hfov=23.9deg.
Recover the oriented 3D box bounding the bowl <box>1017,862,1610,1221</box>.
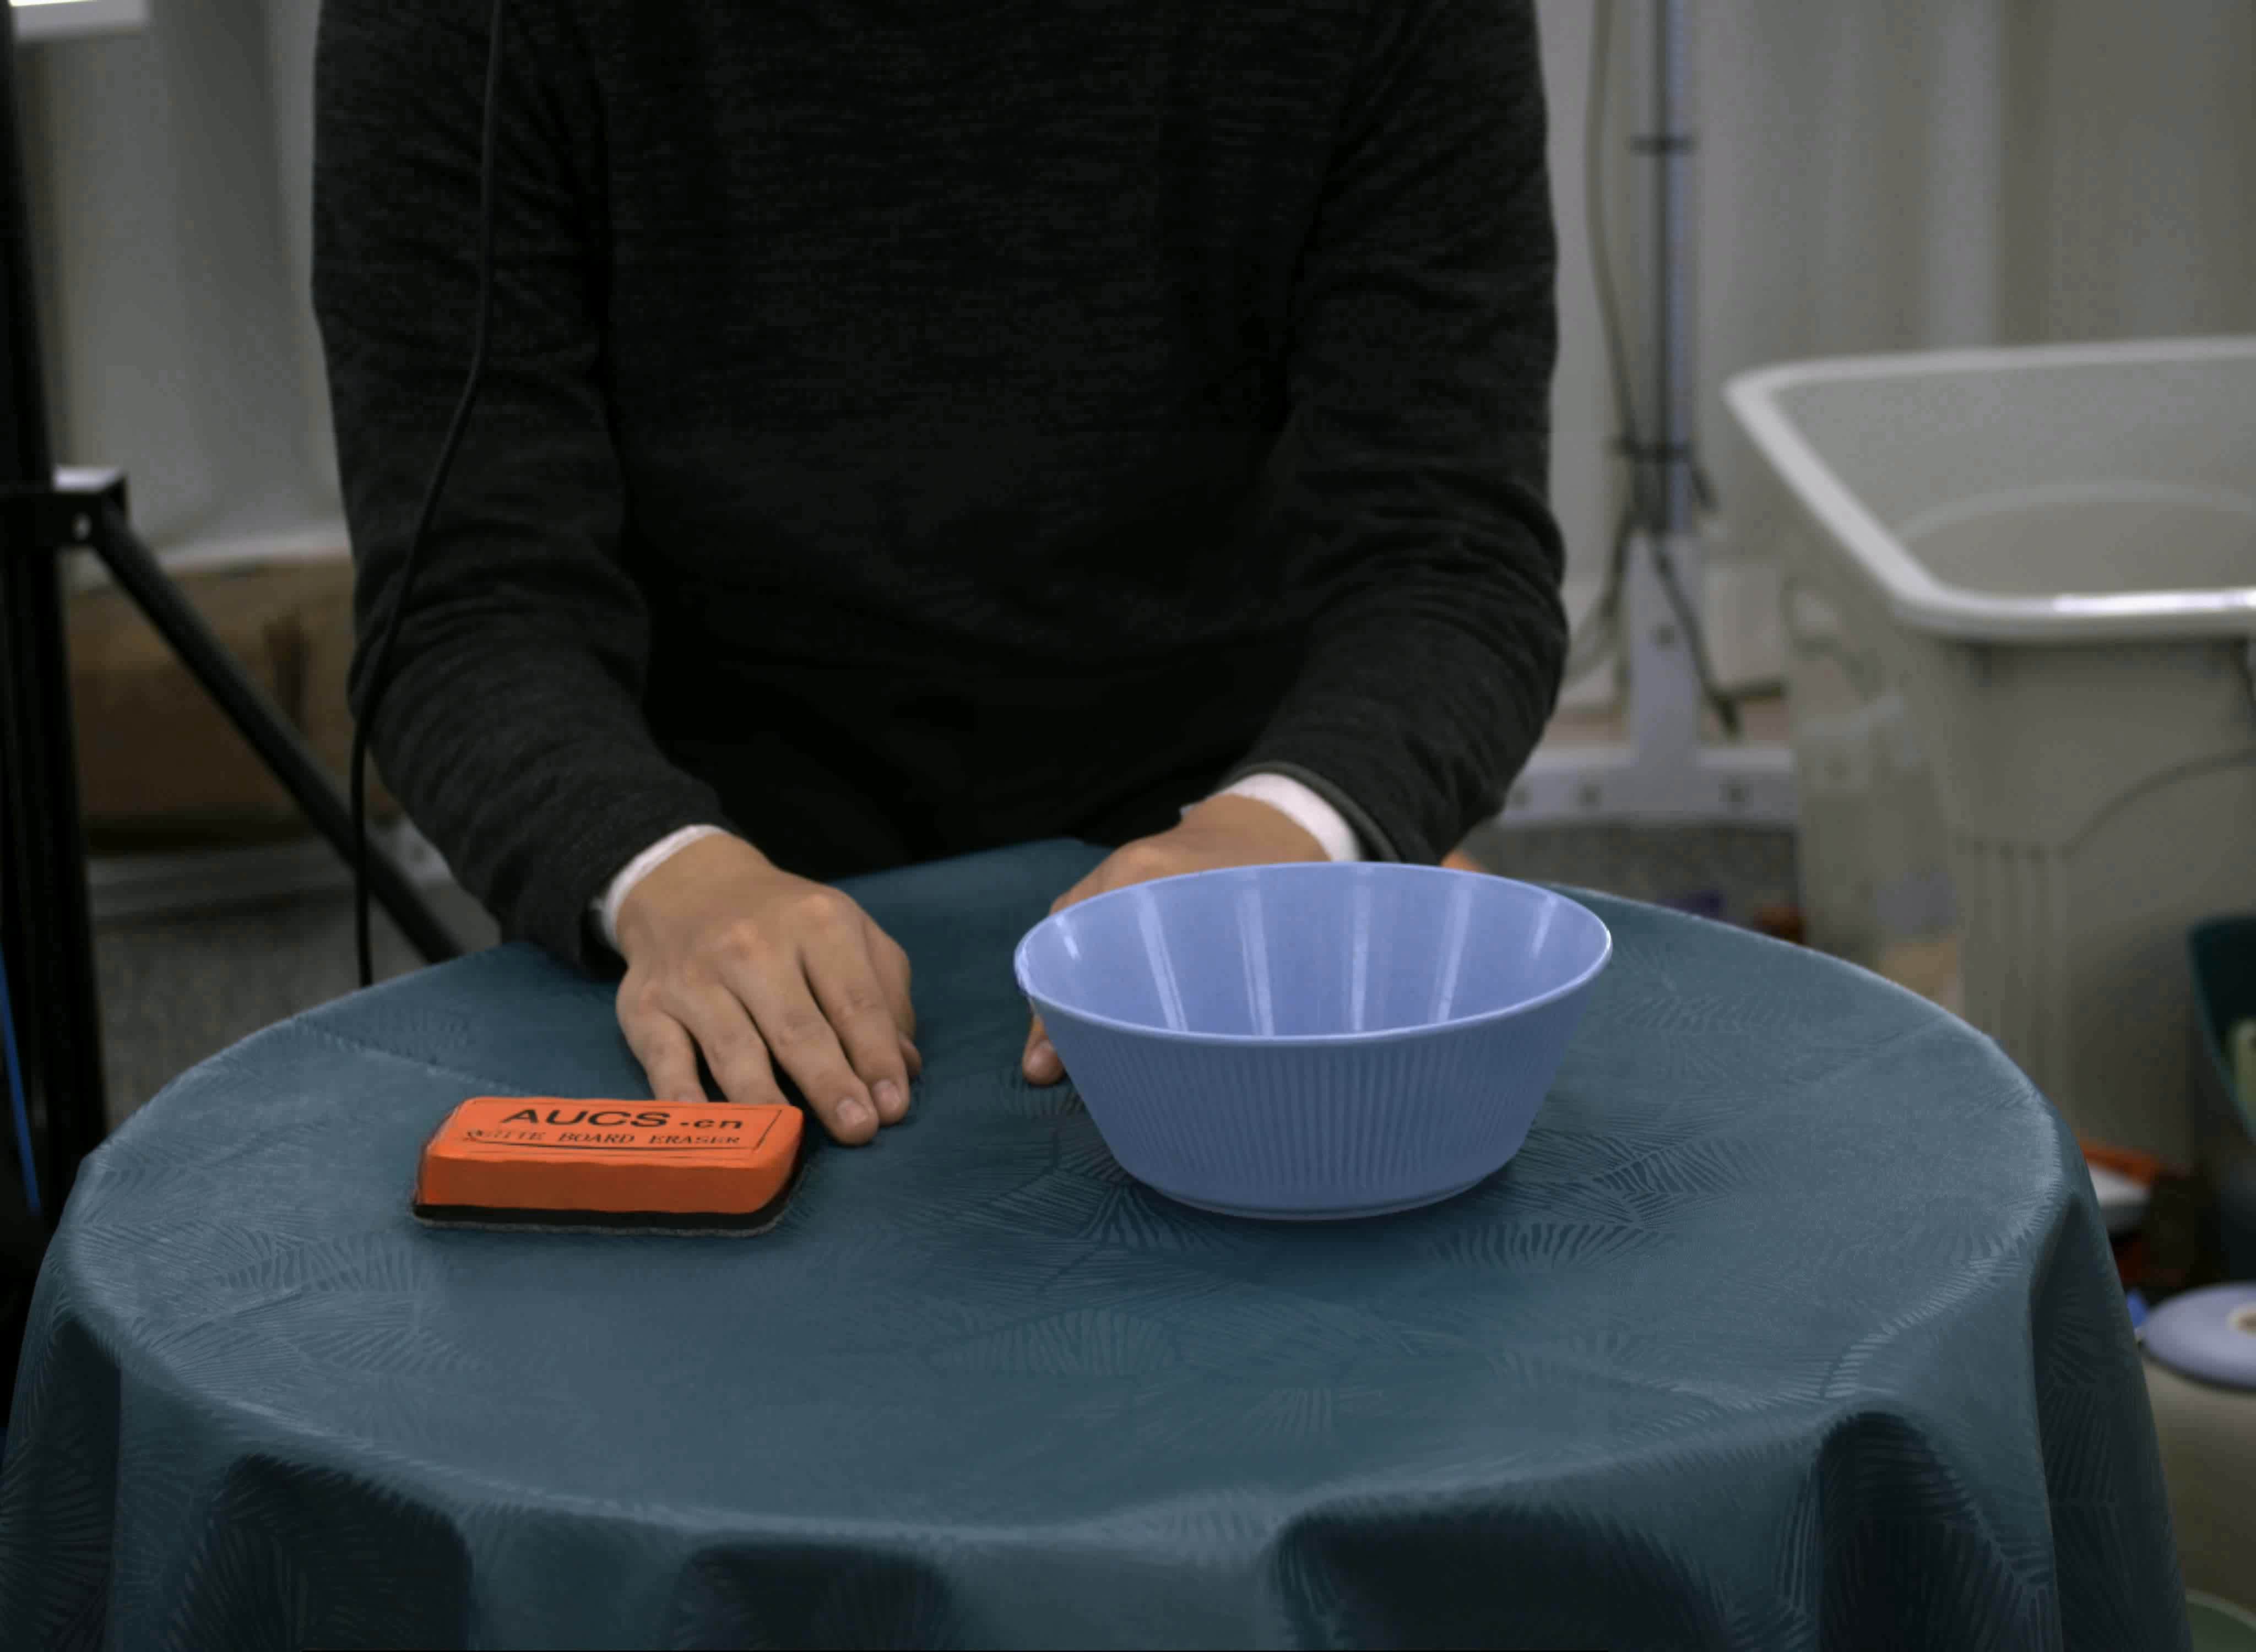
[{"bbox_3d":[0.055,0.066,1.568,0.175,0.070,0.177,-3,16,-1],"label":"bowl"}]

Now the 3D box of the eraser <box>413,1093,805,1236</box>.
[{"bbox_3d":[-0.152,0.099,1.568,0.109,0.023,0.058,0,18,14],"label":"eraser"}]
